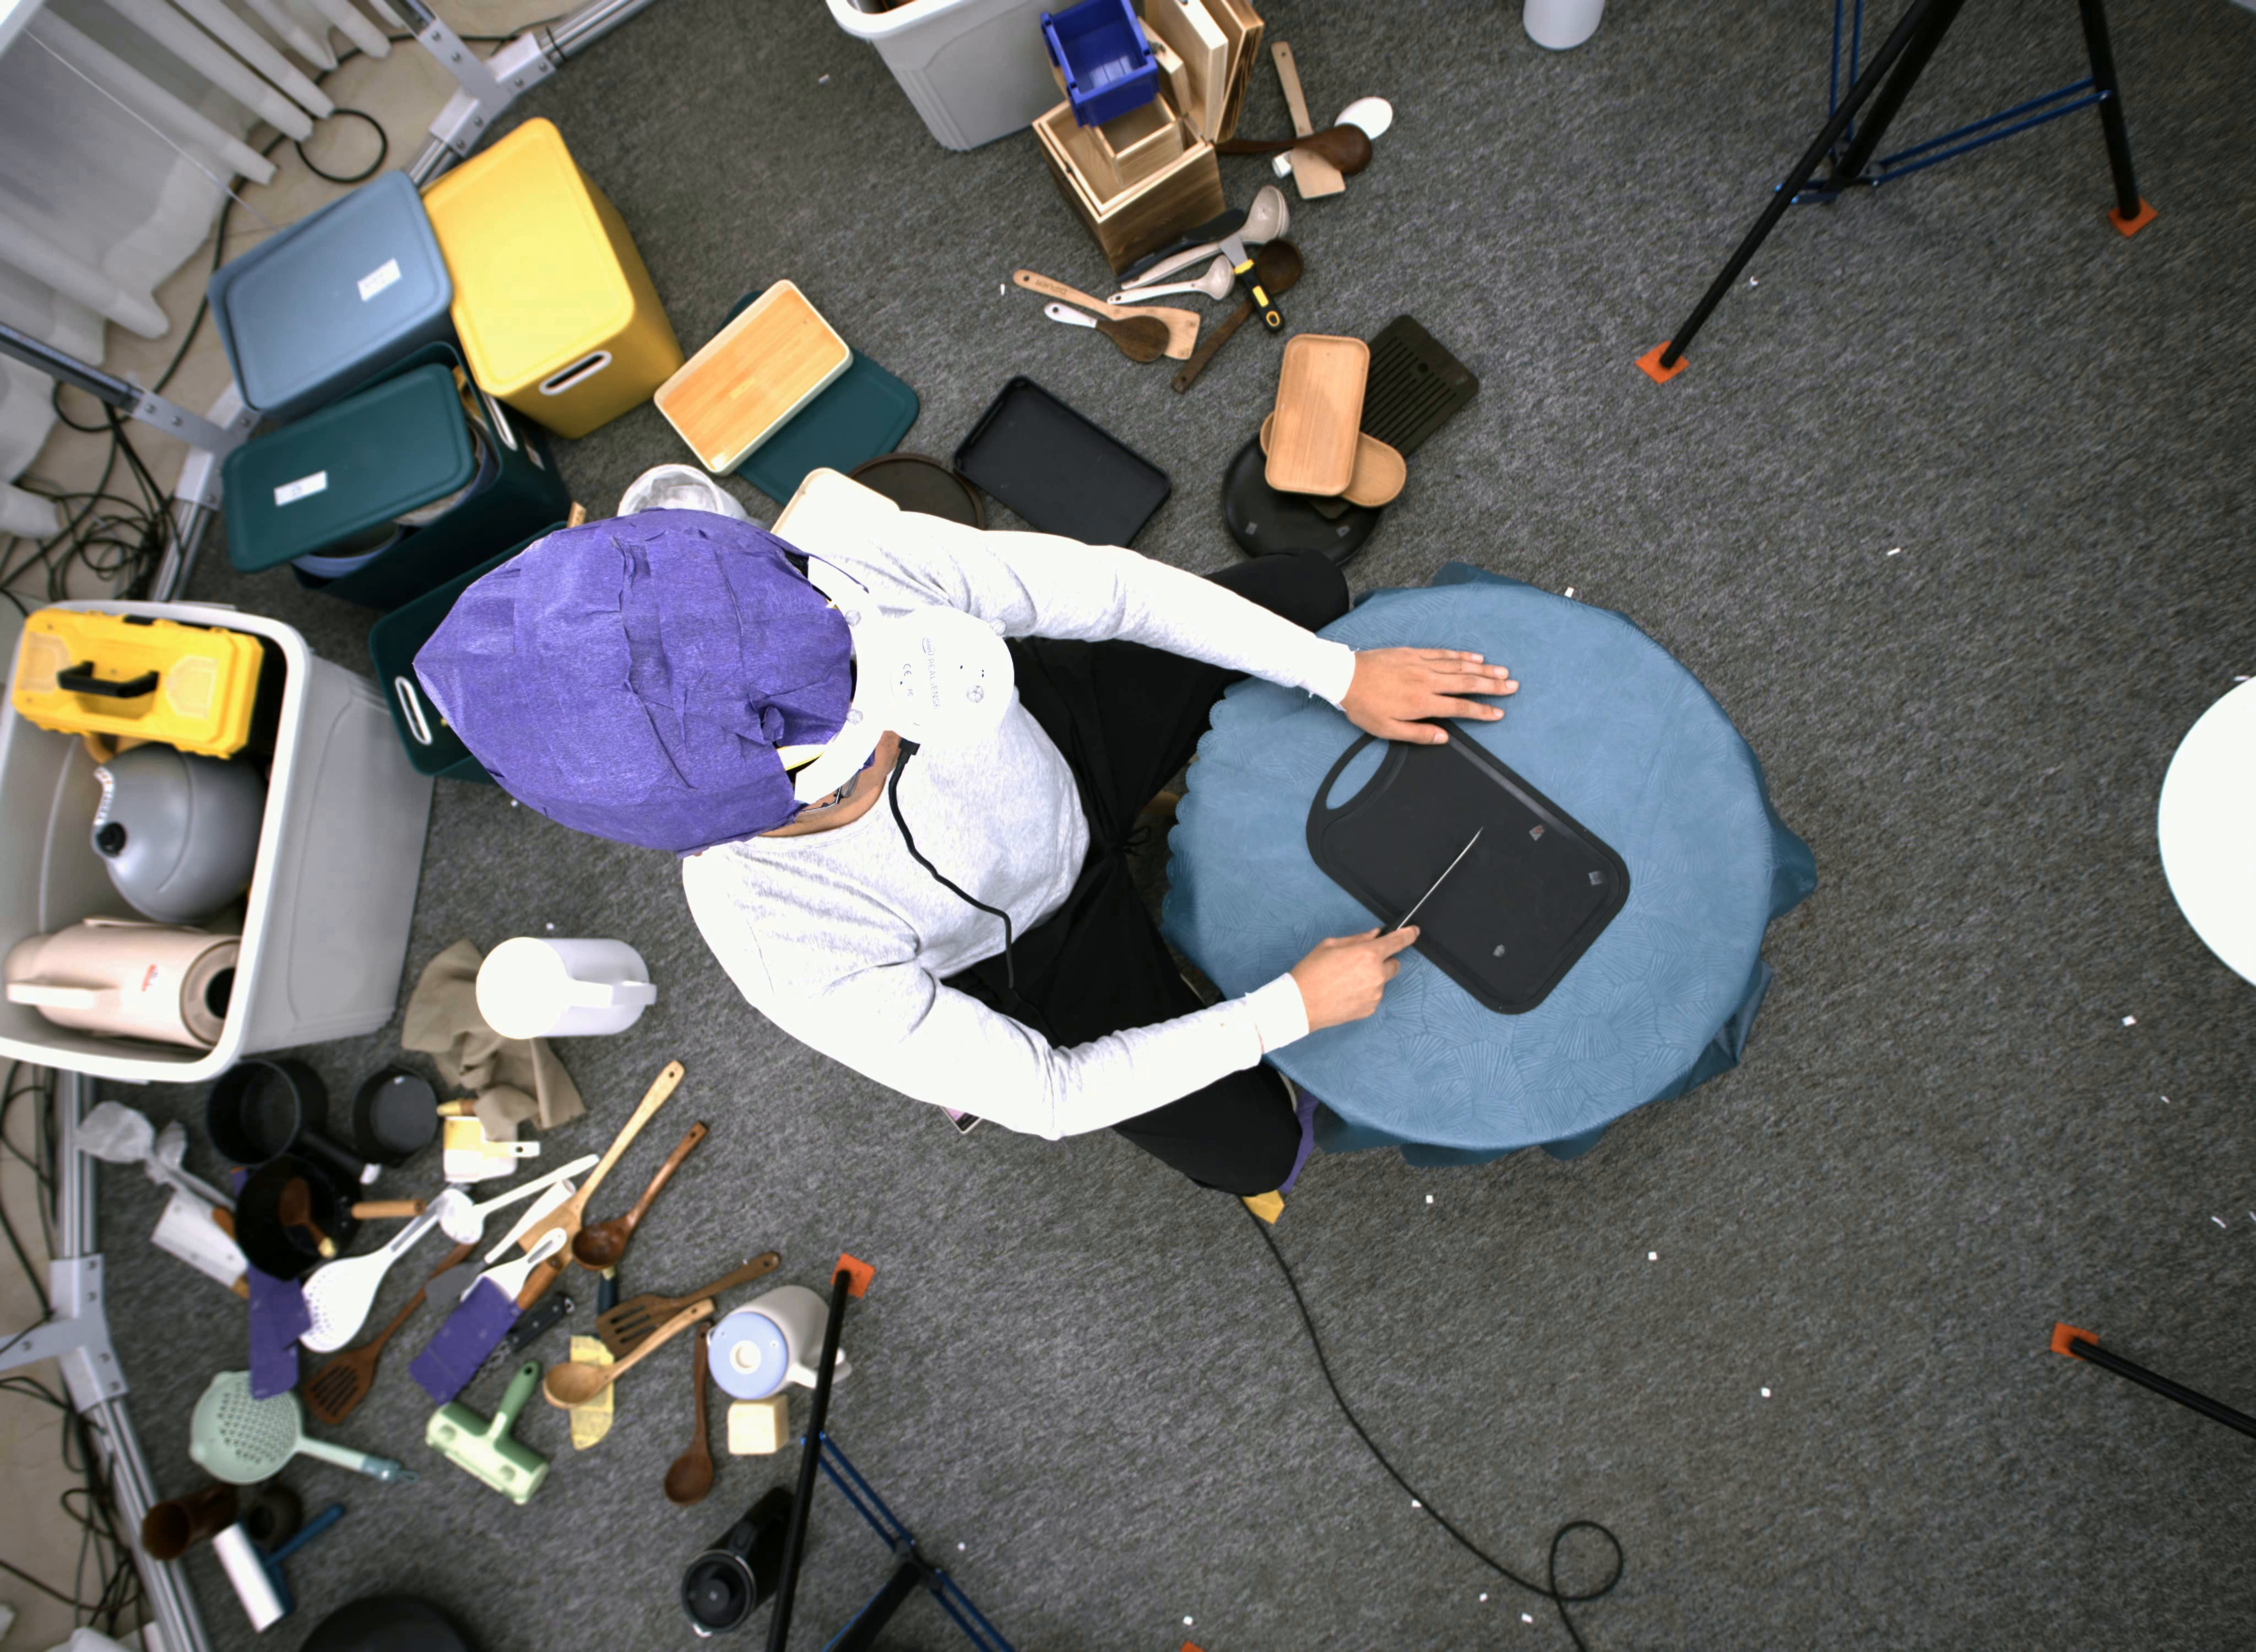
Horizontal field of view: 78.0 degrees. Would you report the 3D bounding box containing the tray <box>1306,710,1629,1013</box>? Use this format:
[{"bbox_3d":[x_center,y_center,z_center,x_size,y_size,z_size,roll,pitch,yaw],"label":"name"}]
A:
[{"bbox_3d":[0.346,0.028,1.445,0.324,0.010,0.212,41,94,10],"label":"tray"}]

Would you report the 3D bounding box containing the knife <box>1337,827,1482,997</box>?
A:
[{"bbox_3d":[0.294,0.084,1.422,0.016,0.024,0.236,42,80,1],"label":"knife"}]
